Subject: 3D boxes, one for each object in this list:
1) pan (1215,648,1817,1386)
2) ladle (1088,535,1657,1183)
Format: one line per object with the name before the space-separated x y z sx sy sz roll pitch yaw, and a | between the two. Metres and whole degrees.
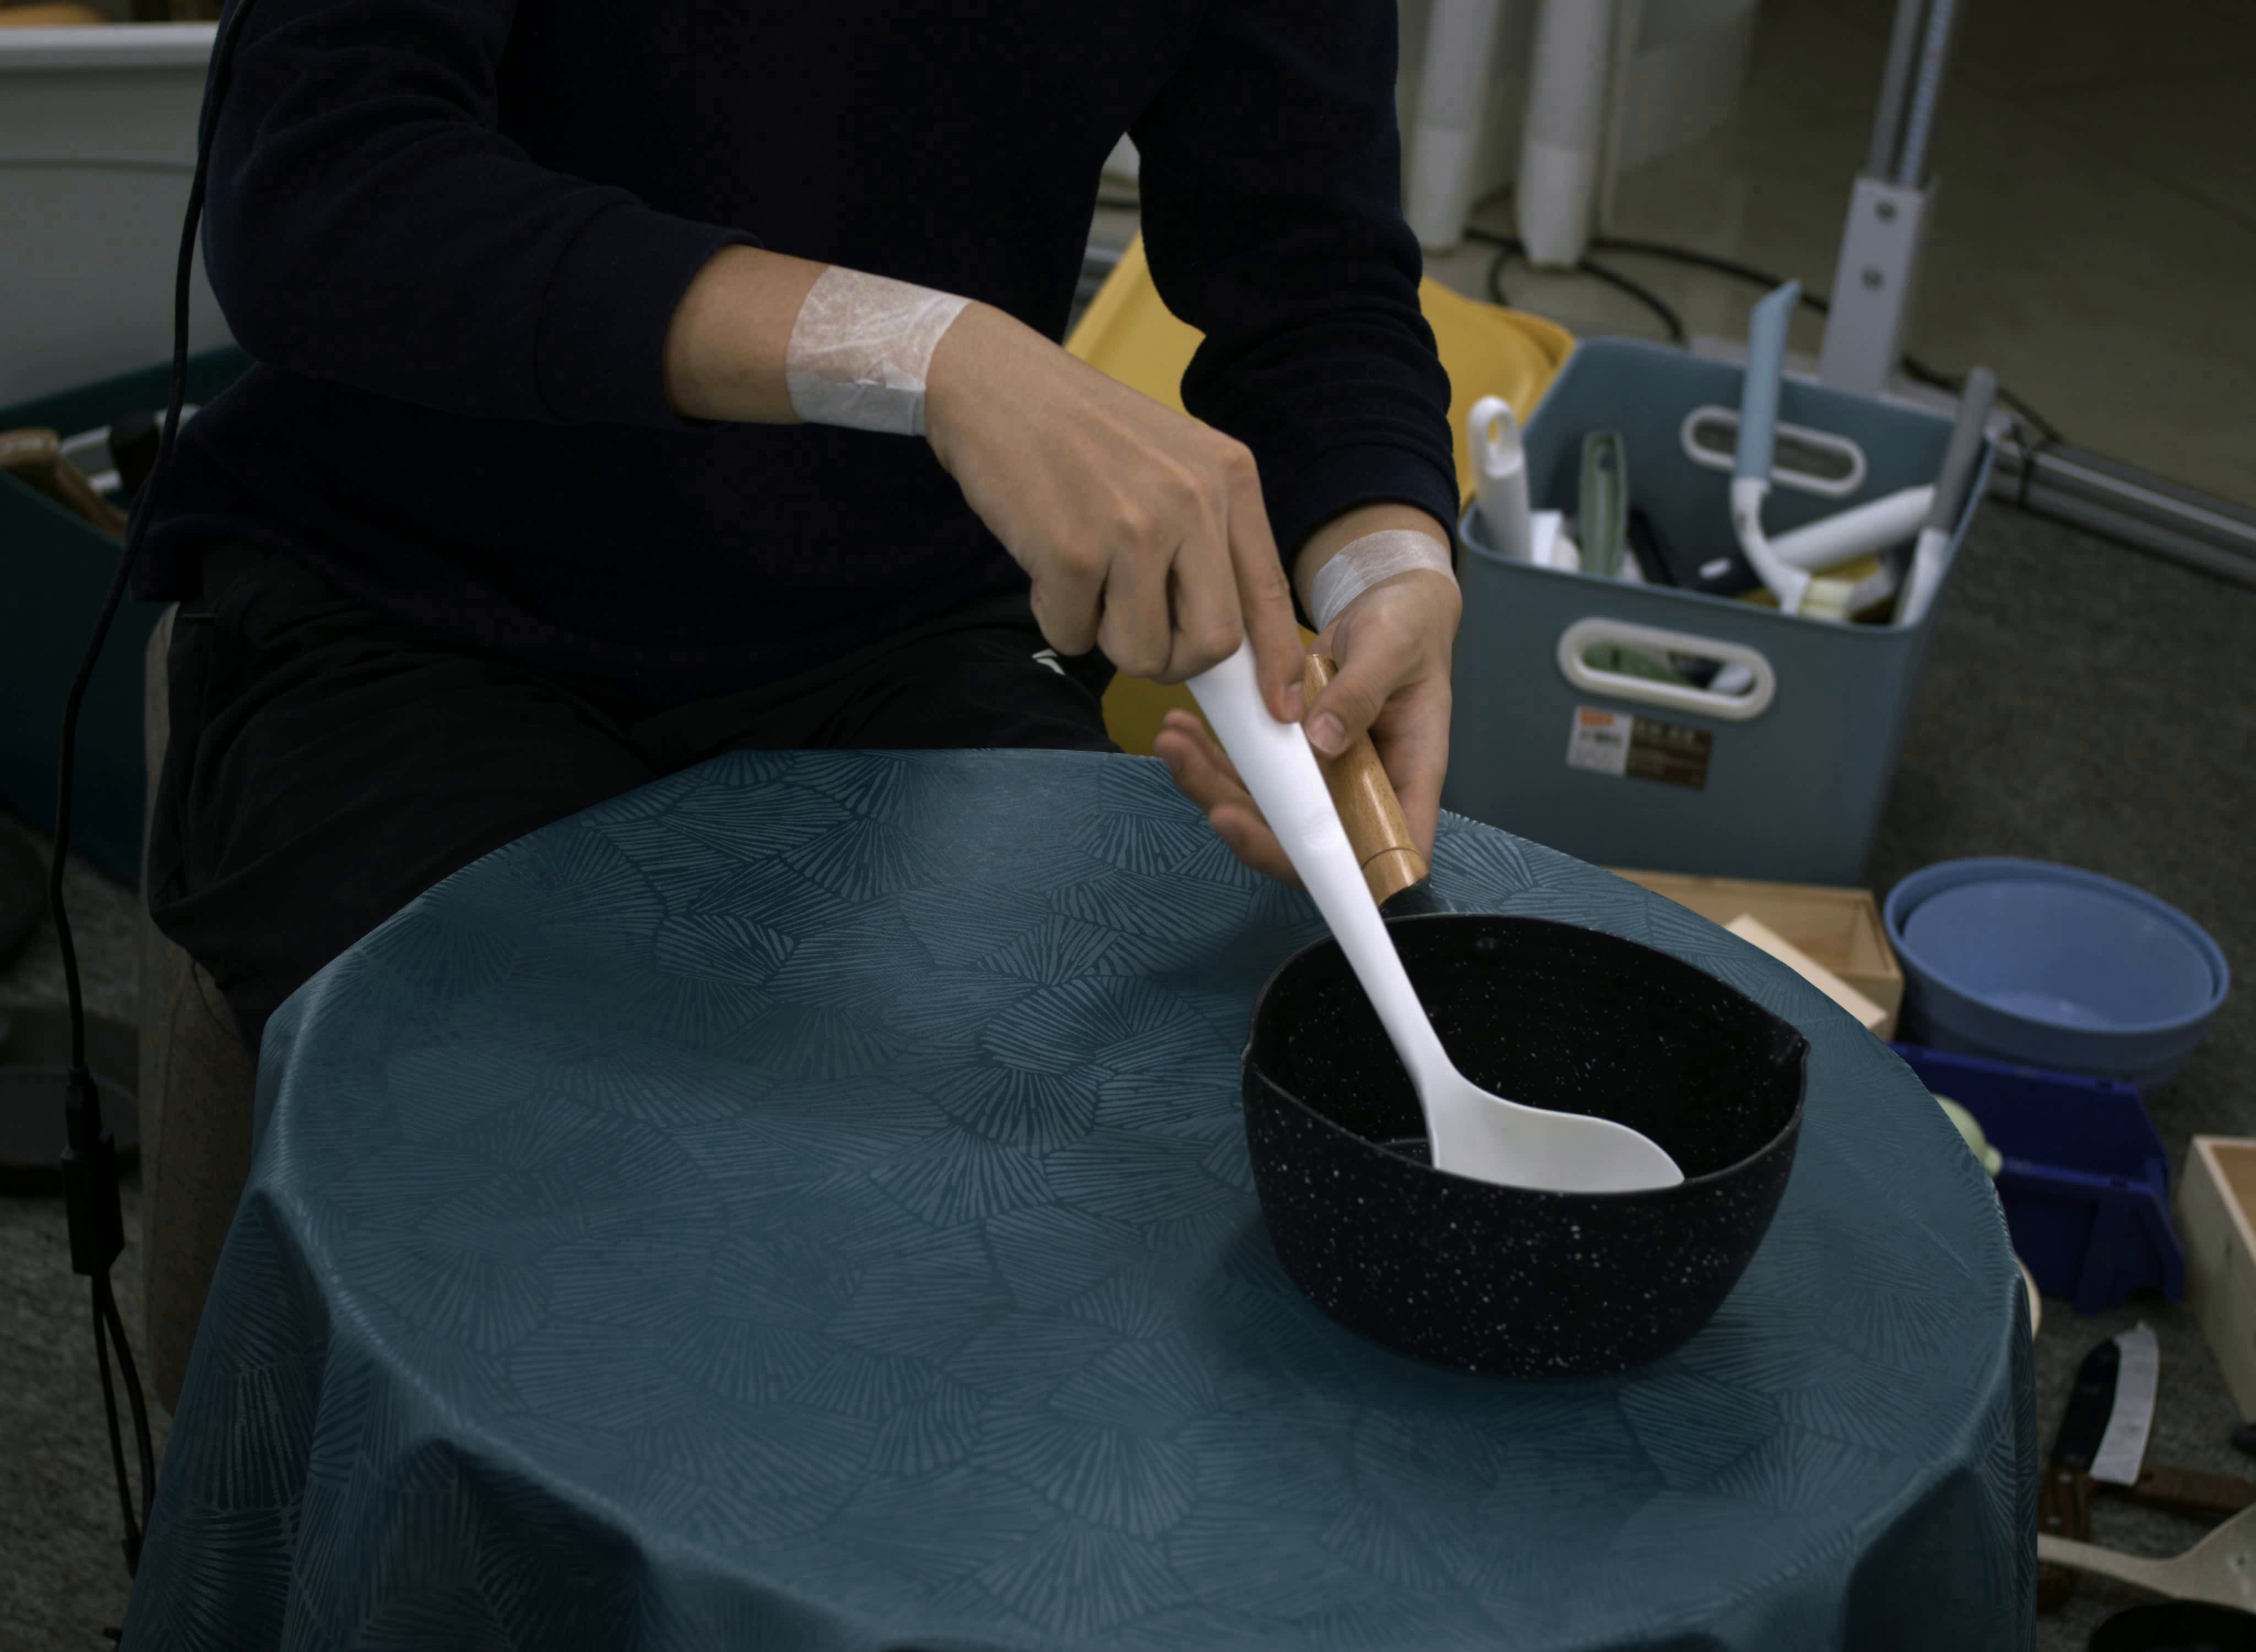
pan | 0.105 0.062 1.828 0.206 0.108 0.346 -4 30 -17
ladle | 0.076 0.034 1.754 0.090 0.293 0.070 -29 0 -17
